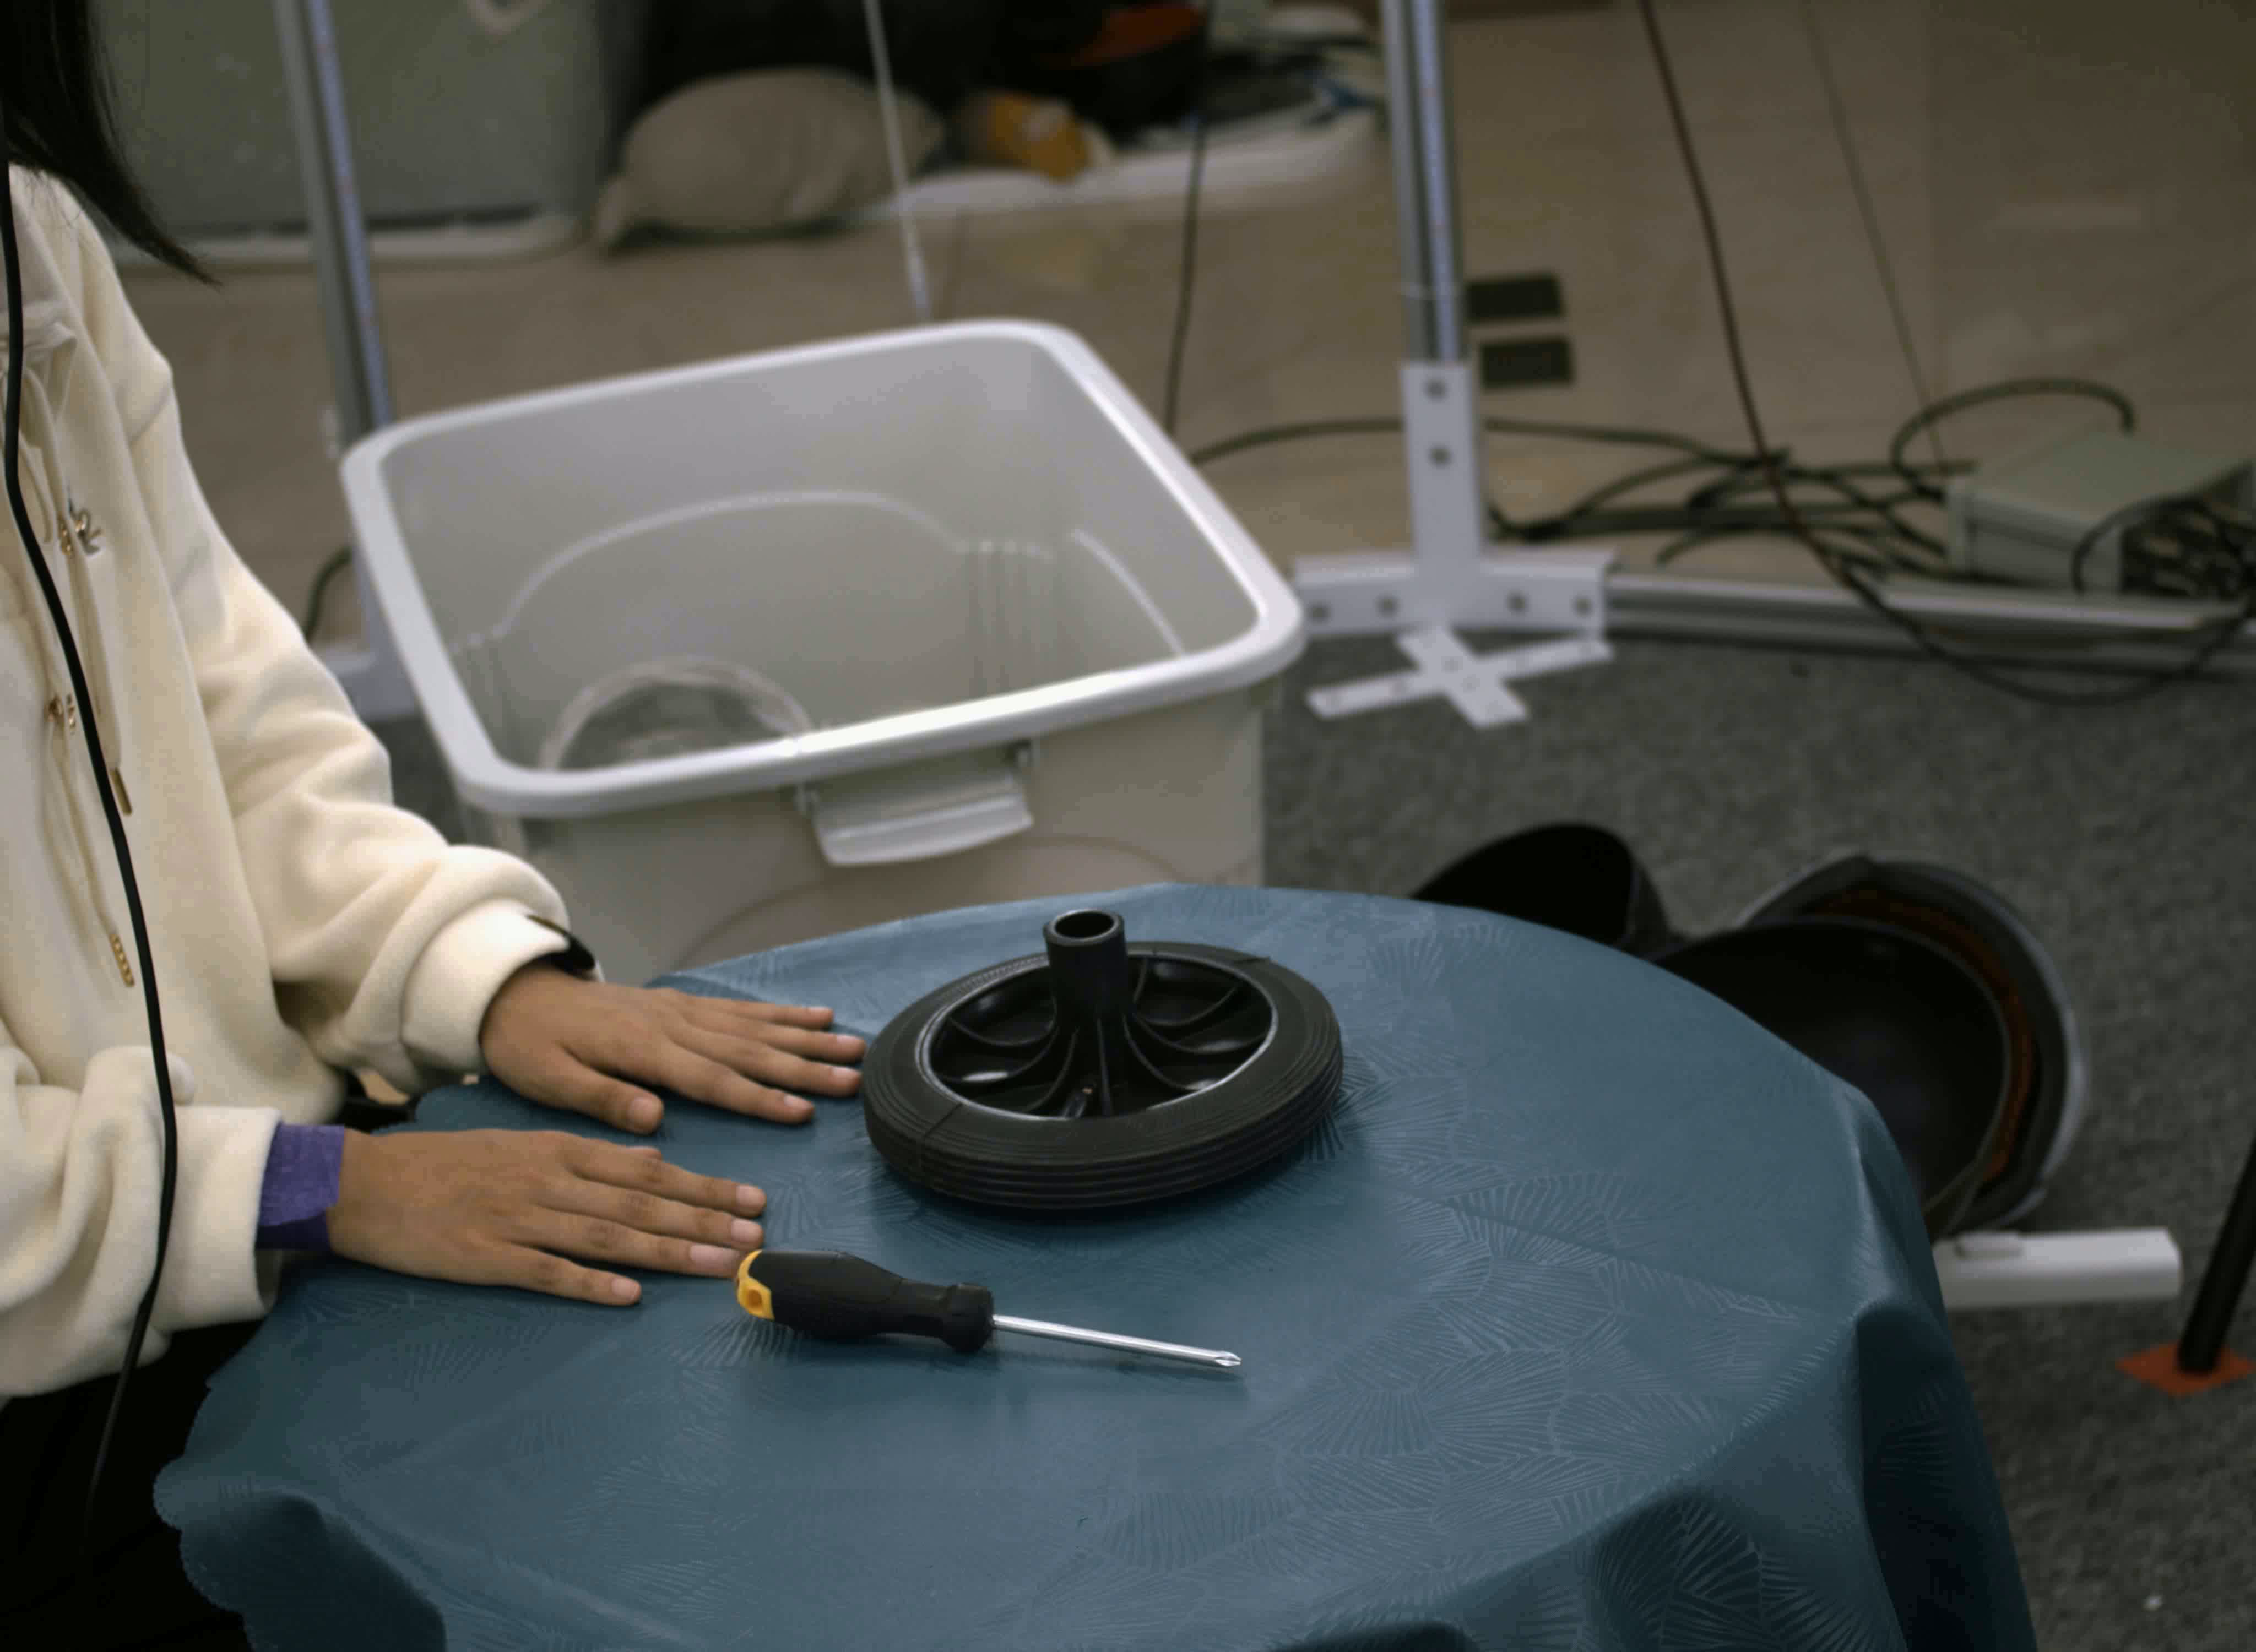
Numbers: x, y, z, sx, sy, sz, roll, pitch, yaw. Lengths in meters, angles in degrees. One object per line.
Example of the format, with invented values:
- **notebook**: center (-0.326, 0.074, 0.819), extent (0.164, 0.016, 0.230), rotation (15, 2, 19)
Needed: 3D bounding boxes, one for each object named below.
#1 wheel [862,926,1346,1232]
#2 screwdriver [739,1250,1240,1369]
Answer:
- **wheel**: center (-0.012, 0.081, 2.188), extent (0.187, 0.080, 0.187), rotation (-9, 29, -4)
- **screwdriver**: center (-0.049, 0.176, 2.052), extent (0.195, 0.032, 0.031), rotation (5, 27, 19)
